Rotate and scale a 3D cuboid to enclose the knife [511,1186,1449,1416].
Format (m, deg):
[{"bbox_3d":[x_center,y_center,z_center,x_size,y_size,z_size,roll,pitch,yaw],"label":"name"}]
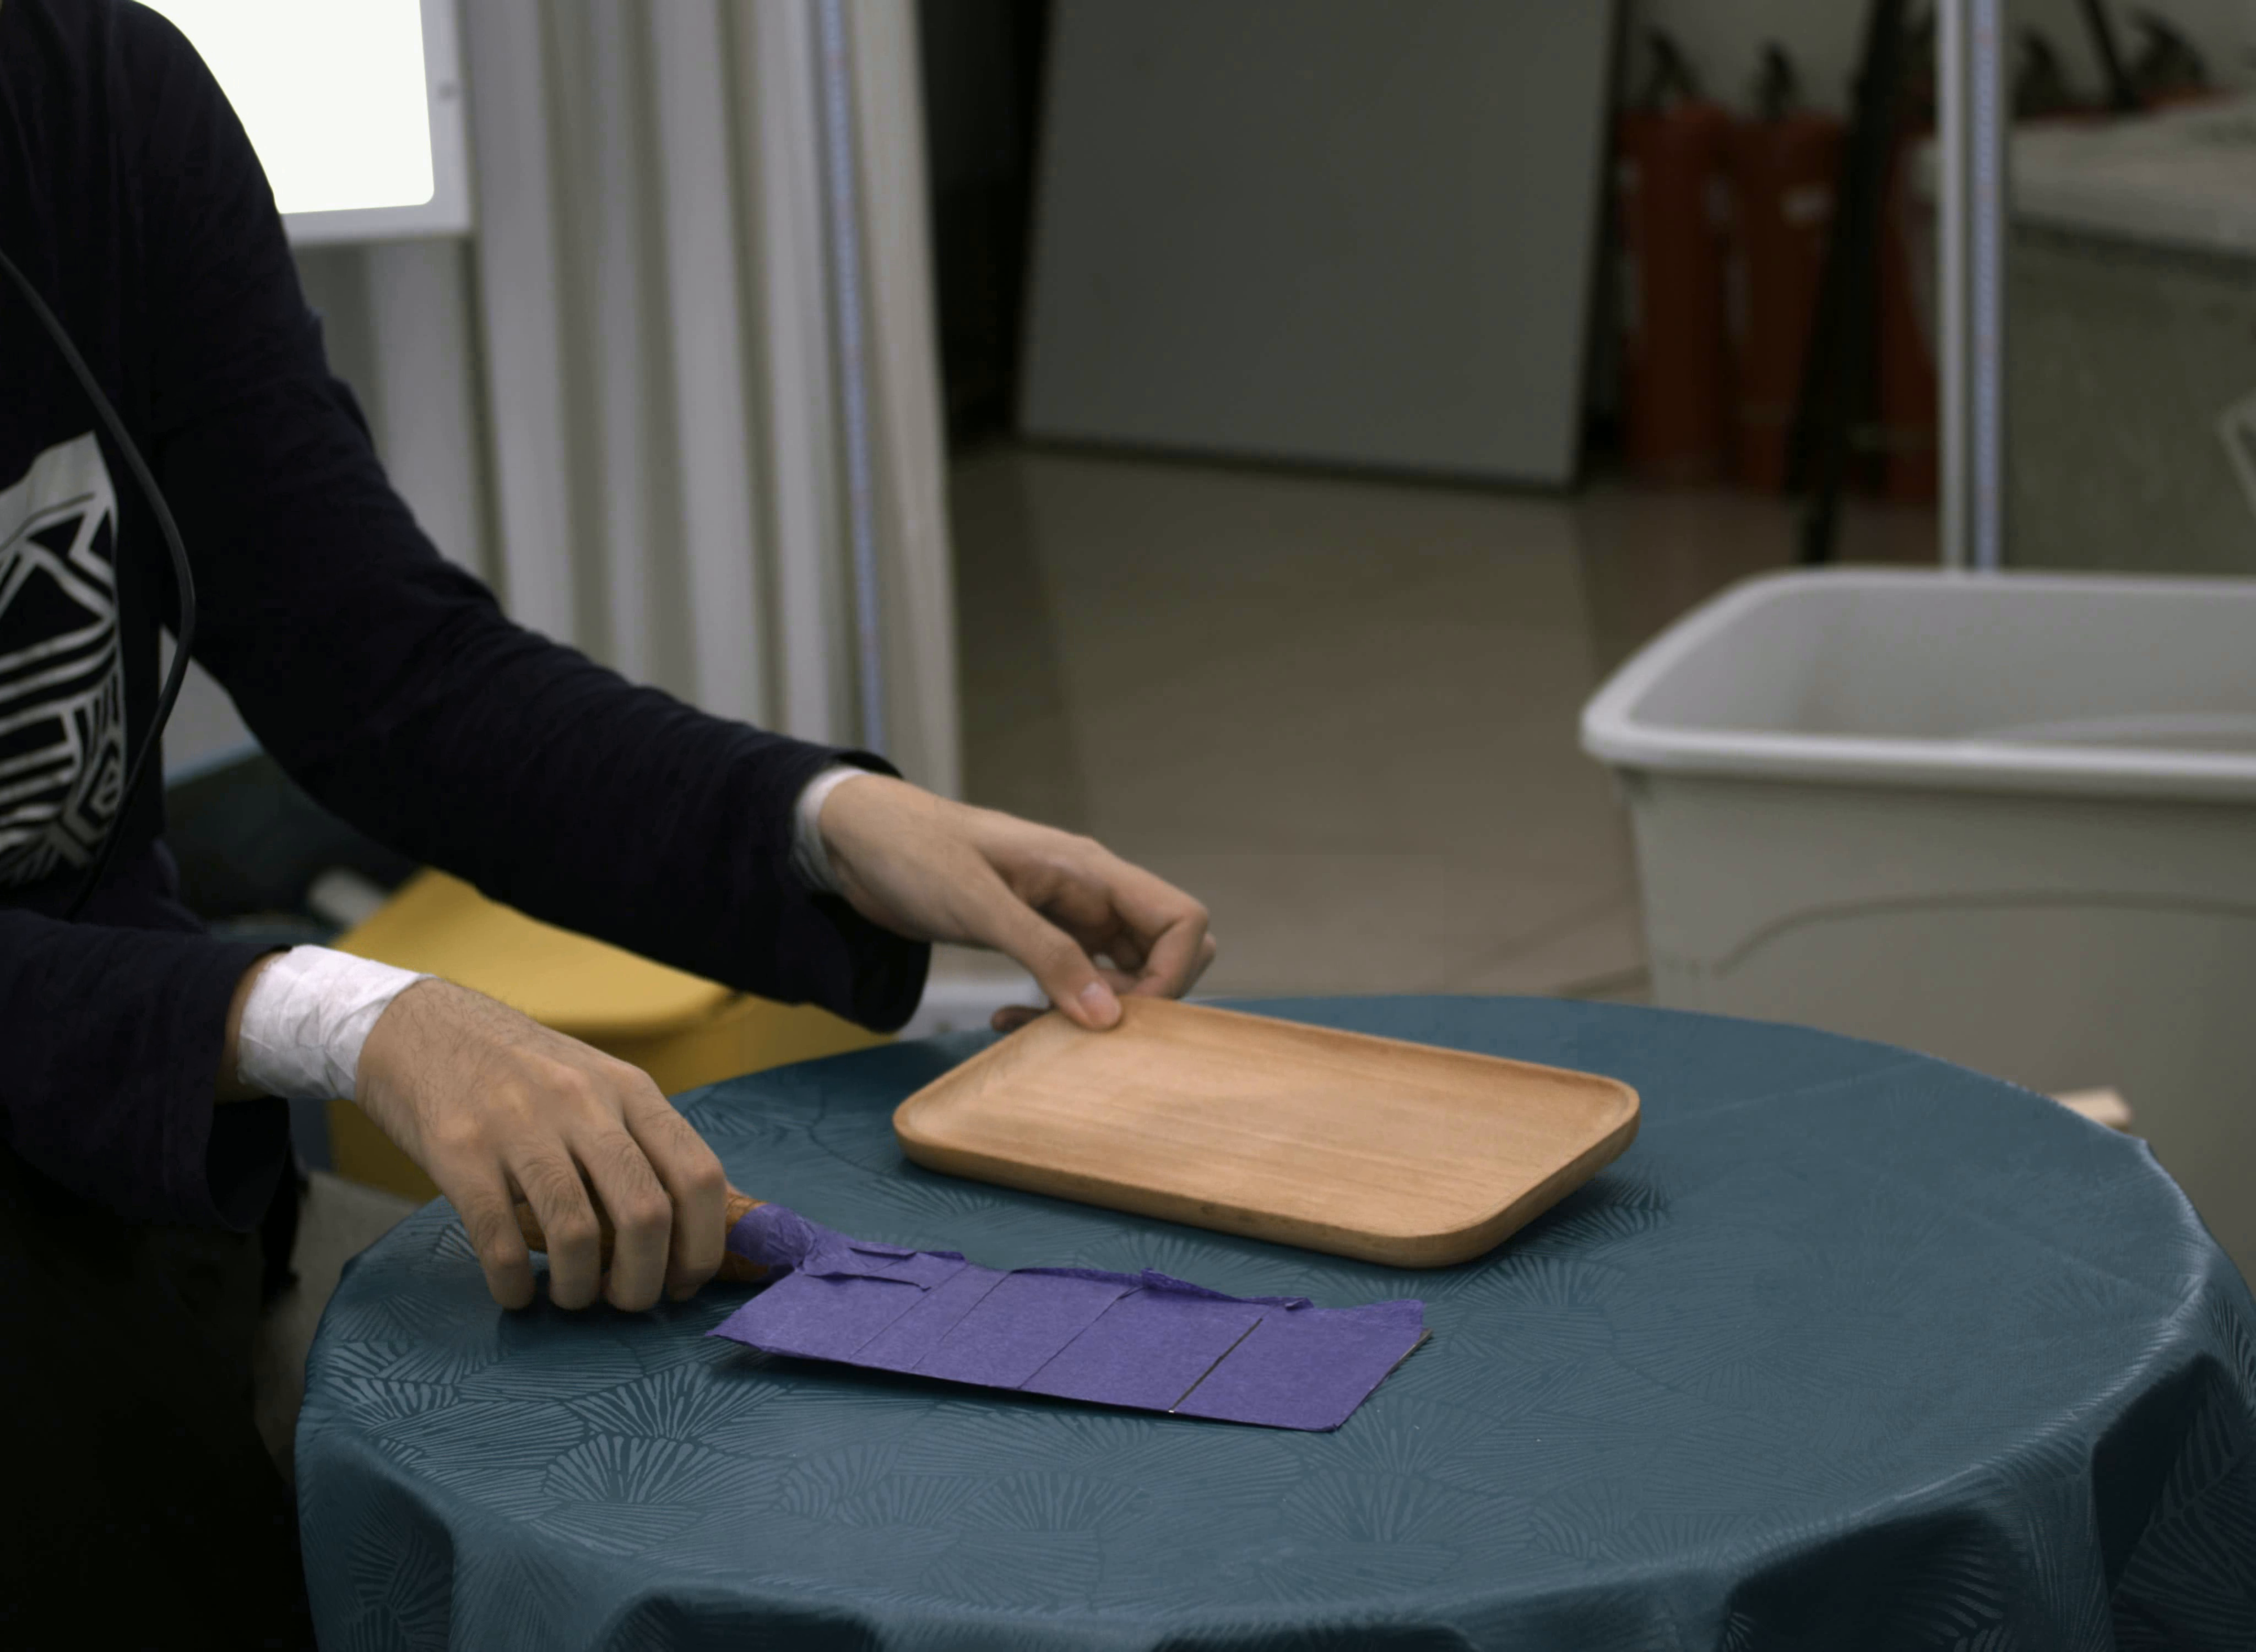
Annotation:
[{"bbox_3d":[-0.062,0.144,1.643,0.315,0.032,0.102,3,15,25],"label":"knife"}]

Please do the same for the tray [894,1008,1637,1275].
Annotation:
[{"bbox_3d":[0.044,0.102,1.778,0.253,0.023,0.128,10,29,42],"label":"tray"}]
